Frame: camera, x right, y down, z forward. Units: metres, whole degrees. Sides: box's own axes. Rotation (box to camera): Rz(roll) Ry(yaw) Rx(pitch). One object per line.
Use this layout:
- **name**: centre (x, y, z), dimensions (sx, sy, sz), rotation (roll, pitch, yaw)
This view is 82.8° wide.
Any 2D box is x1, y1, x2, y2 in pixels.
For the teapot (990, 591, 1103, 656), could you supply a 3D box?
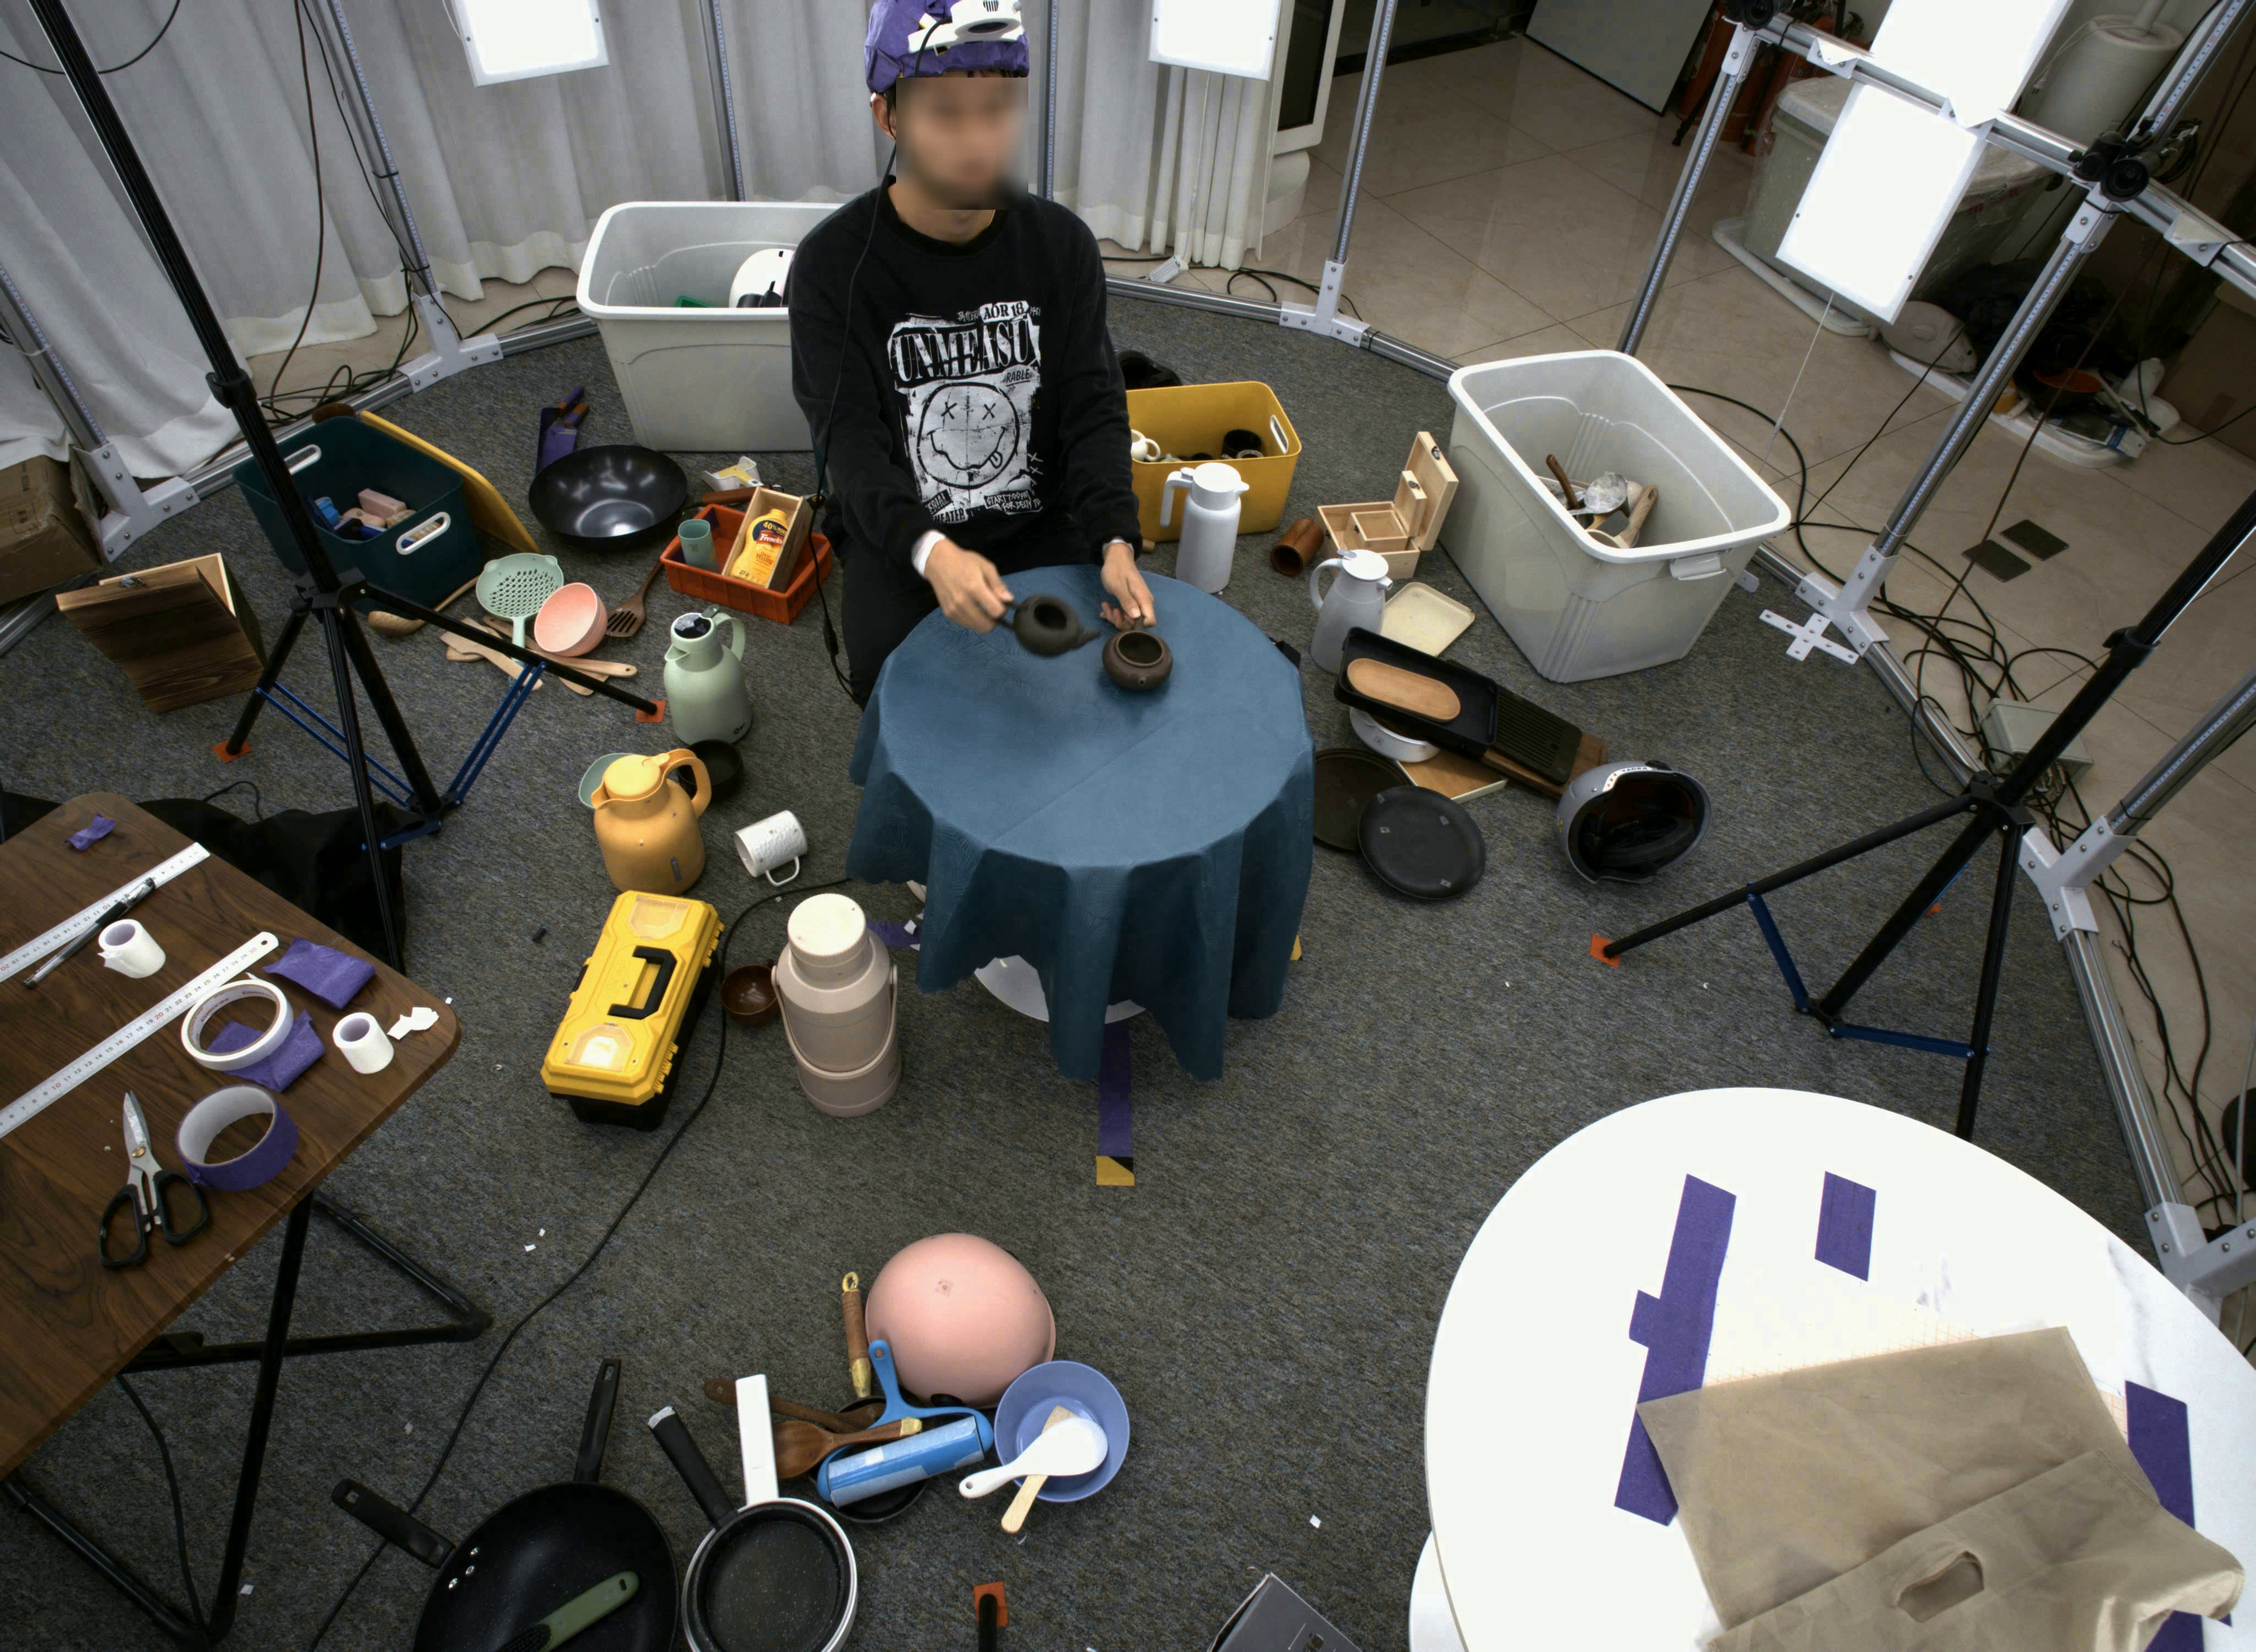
- **teapot**: centre (-0.111, -0.273, 1.729), dimensions (0.153, 0.063, 0.094), rotation (17, 50, -10)

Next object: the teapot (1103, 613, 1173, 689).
- **teapot**: centre (0.014, -0.245, 1.842), dimensions (0.102, 0.052, 0.157), rotation (3, 52, -12)
